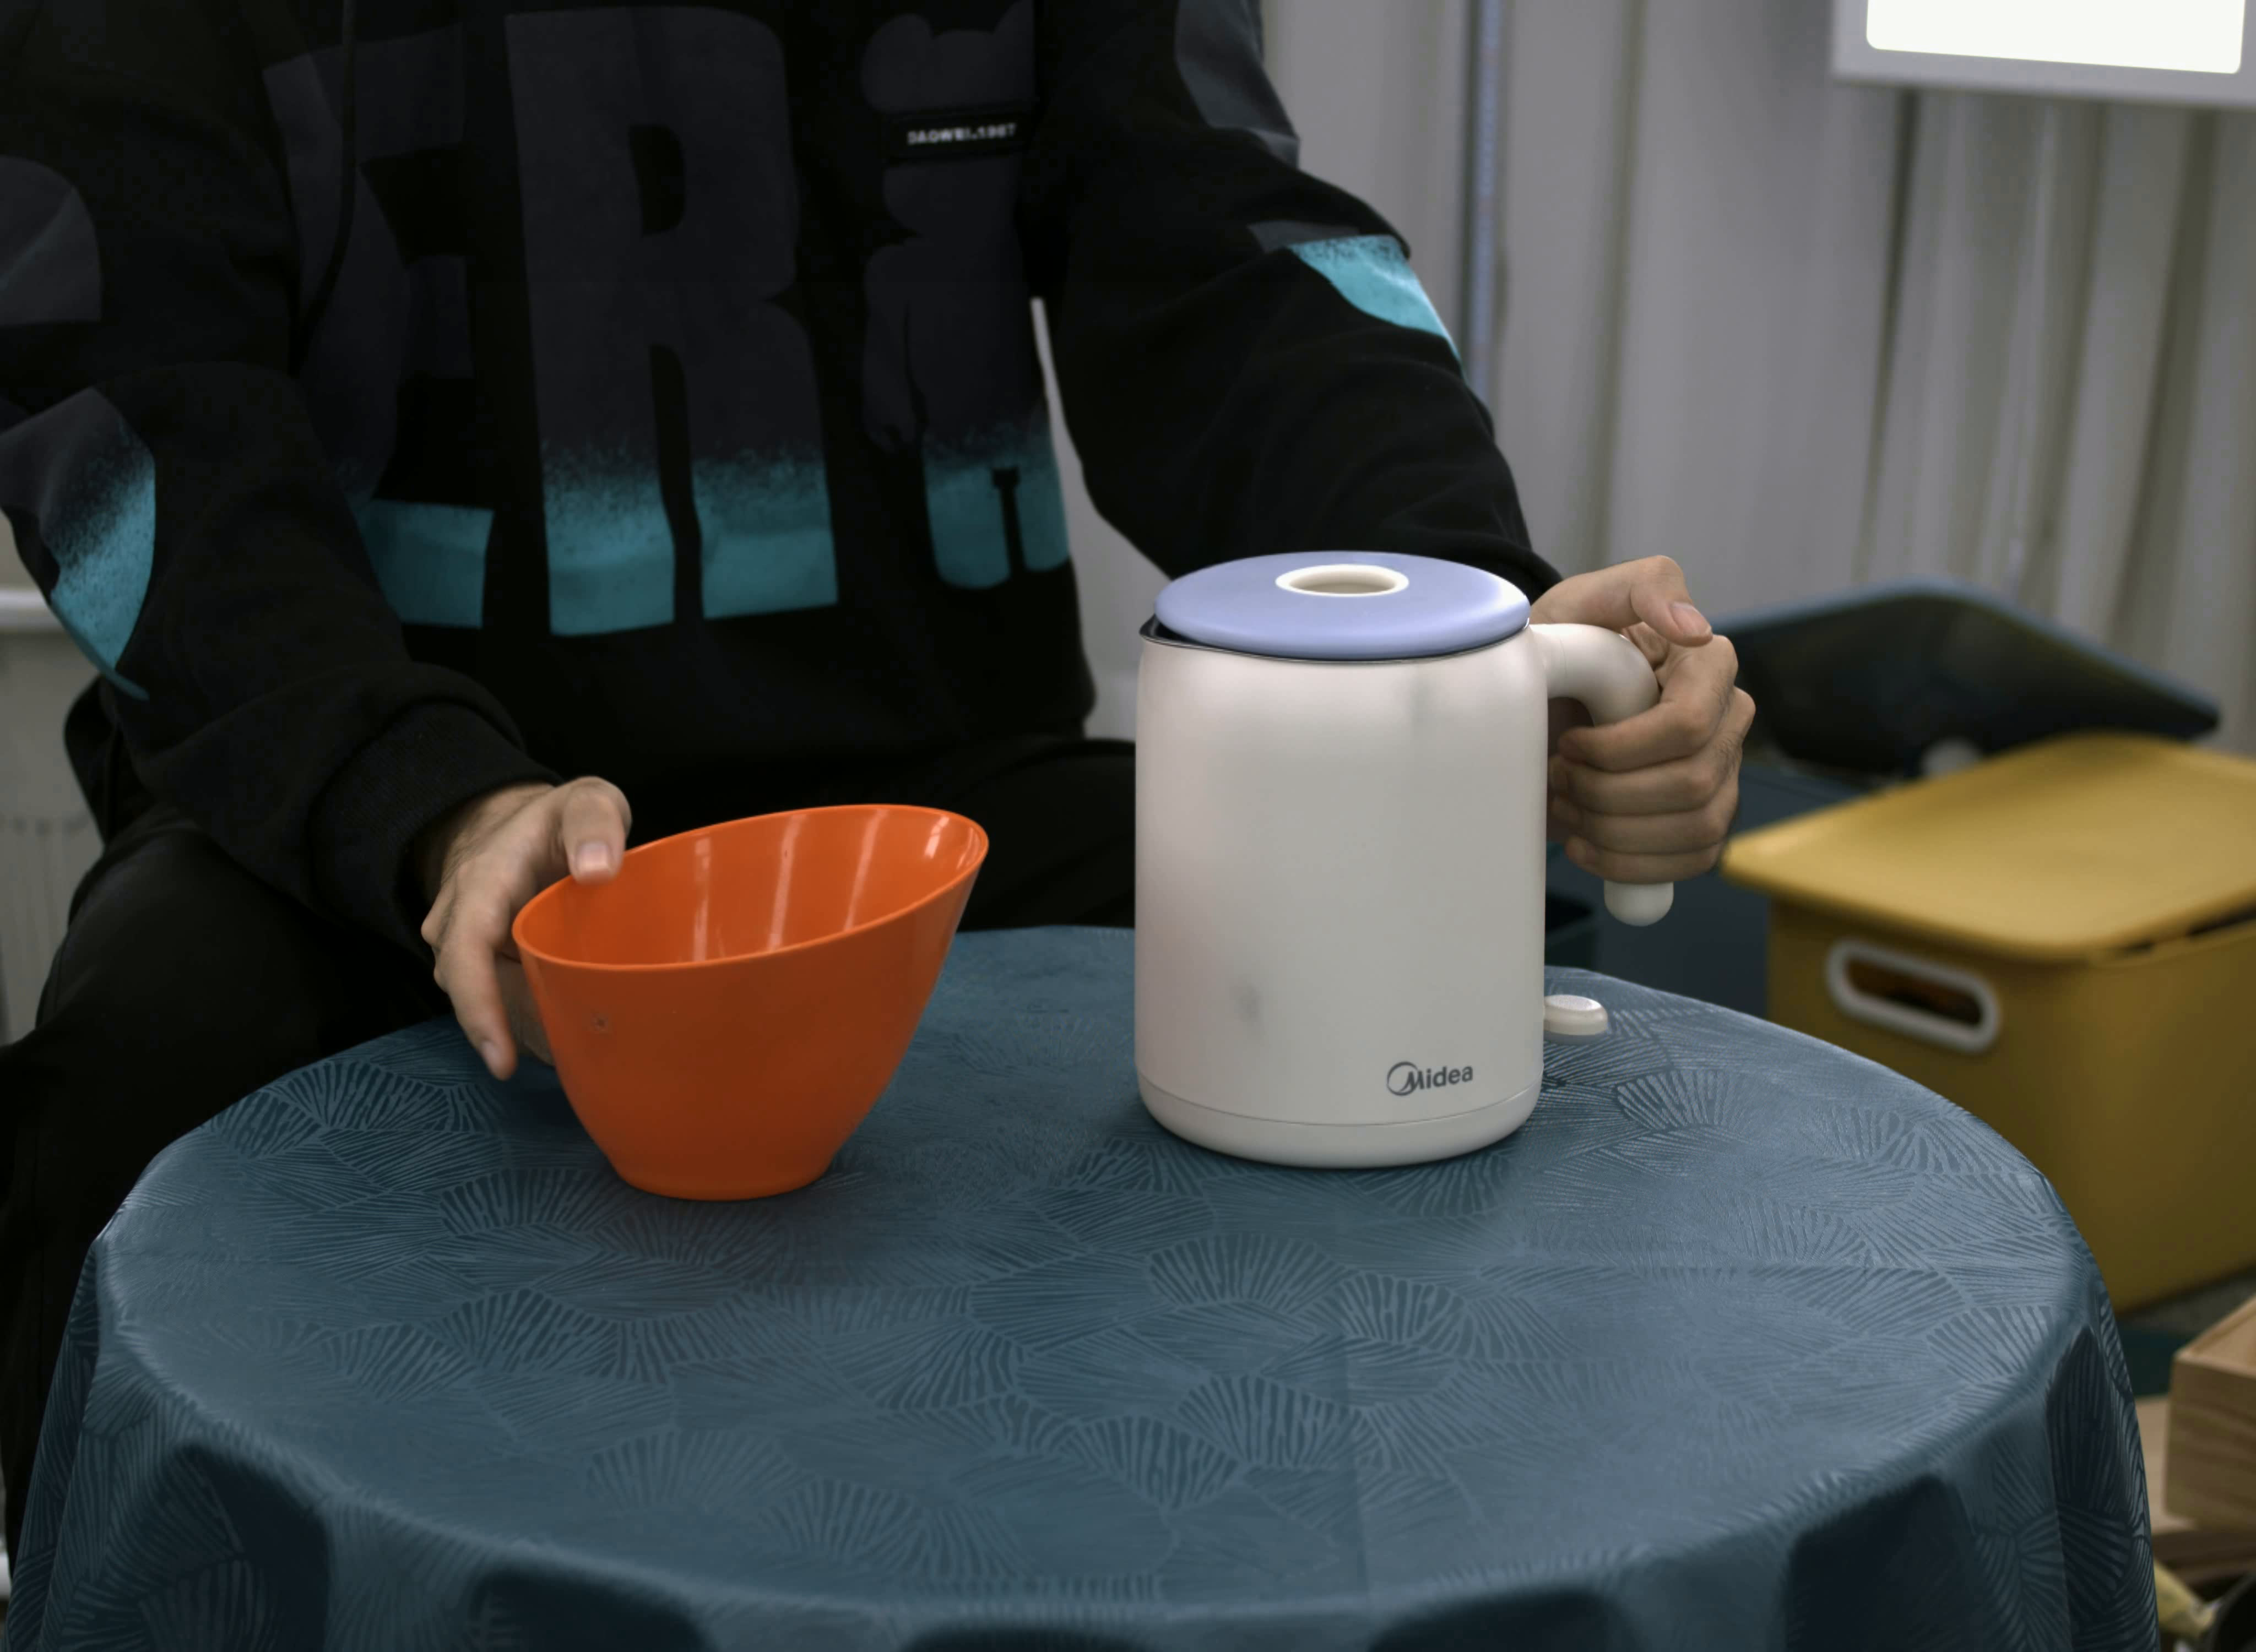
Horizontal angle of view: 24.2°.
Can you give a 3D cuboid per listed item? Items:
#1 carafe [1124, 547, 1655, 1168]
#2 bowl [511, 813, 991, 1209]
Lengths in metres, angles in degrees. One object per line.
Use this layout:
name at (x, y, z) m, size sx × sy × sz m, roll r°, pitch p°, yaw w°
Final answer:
carafe at (0.088, 0.007, 1.683) m, size 0.192 × 0.184 × 0.130 m, roll -5°, pitch 18°, yaw -26°
bowl at (-0.116, 0.058, 1.623) m, size 0.147 × 0.105 × 0.147 m, roll 1°, pitch 16°, yaw 0°
